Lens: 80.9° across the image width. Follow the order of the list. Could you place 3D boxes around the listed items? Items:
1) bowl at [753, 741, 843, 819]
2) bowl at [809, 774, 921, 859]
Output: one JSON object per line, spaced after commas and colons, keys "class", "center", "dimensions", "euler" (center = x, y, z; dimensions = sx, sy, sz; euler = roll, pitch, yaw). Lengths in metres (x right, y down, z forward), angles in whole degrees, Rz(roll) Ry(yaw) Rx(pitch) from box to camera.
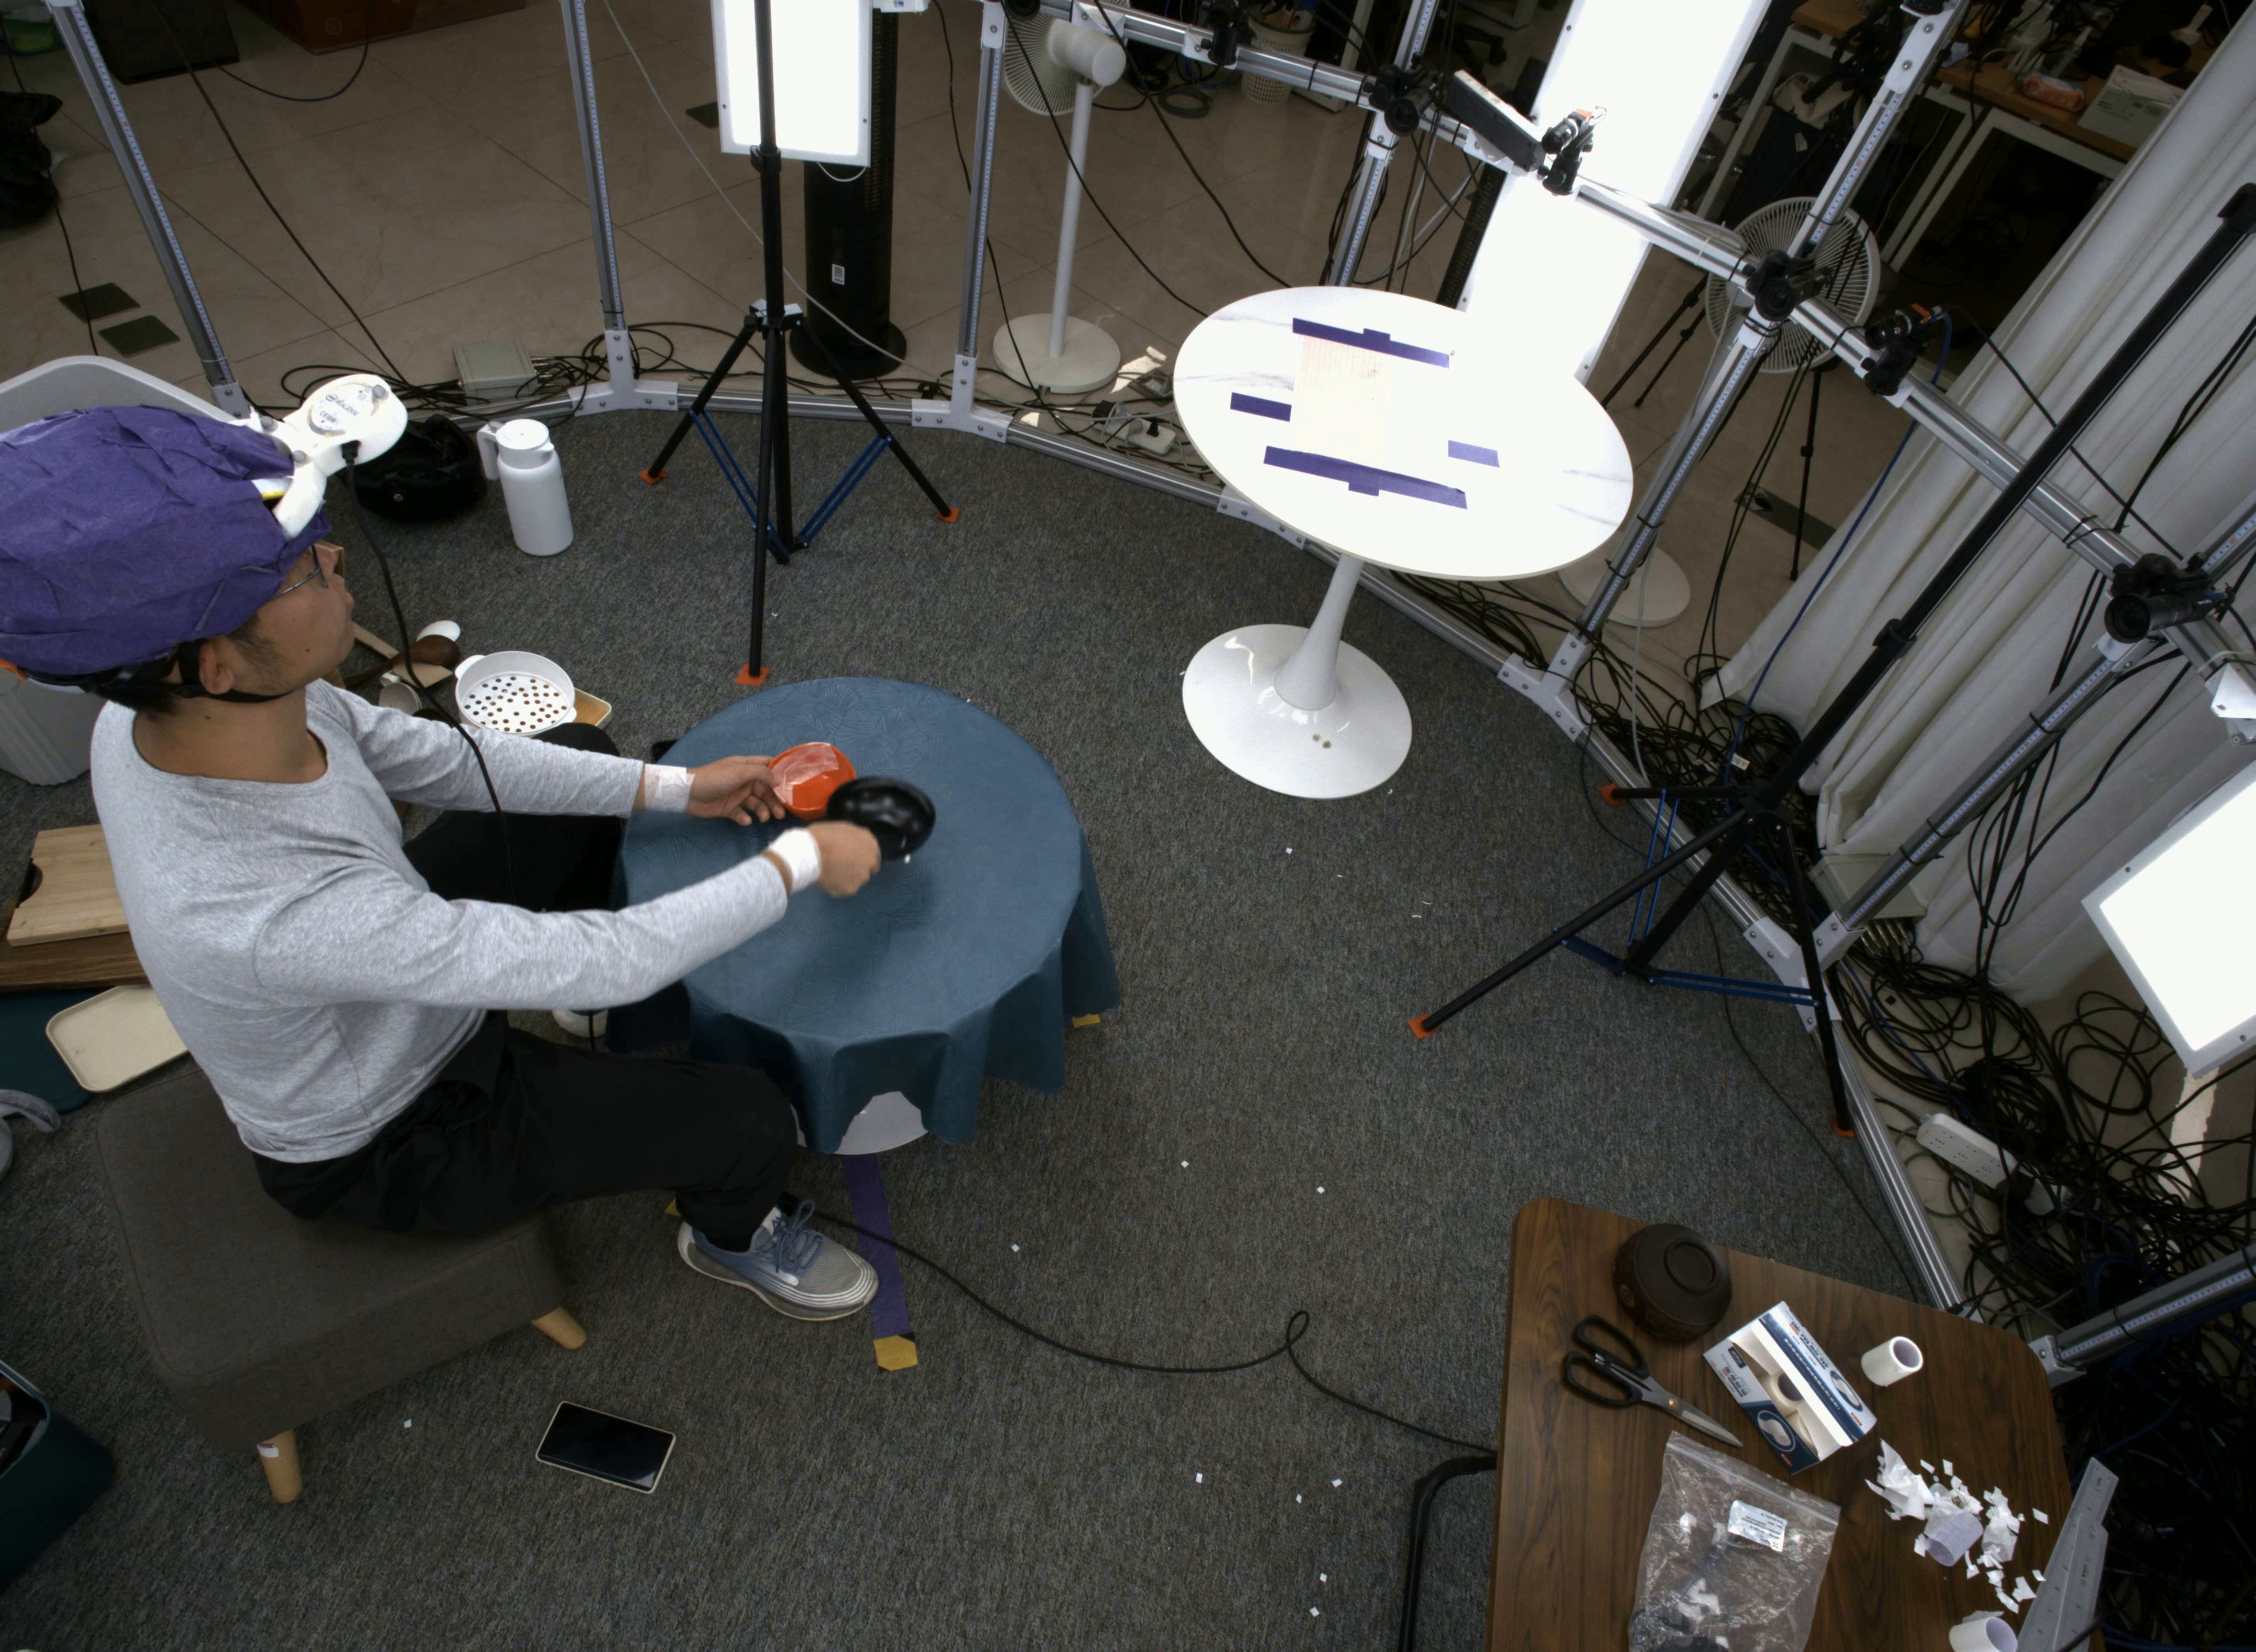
{"class": "bowl", "center": [-0.442, -0.054, 1.735], "dimensions": [0.119, 0.052, 0.117], "euler": [10, 51, -10]}
{"class": "bowl", "center": [-0.334, -0.005, 1.648], "dimensions": [0.139, 0.051, 0.137], "euler": [9, 41, -6]}
